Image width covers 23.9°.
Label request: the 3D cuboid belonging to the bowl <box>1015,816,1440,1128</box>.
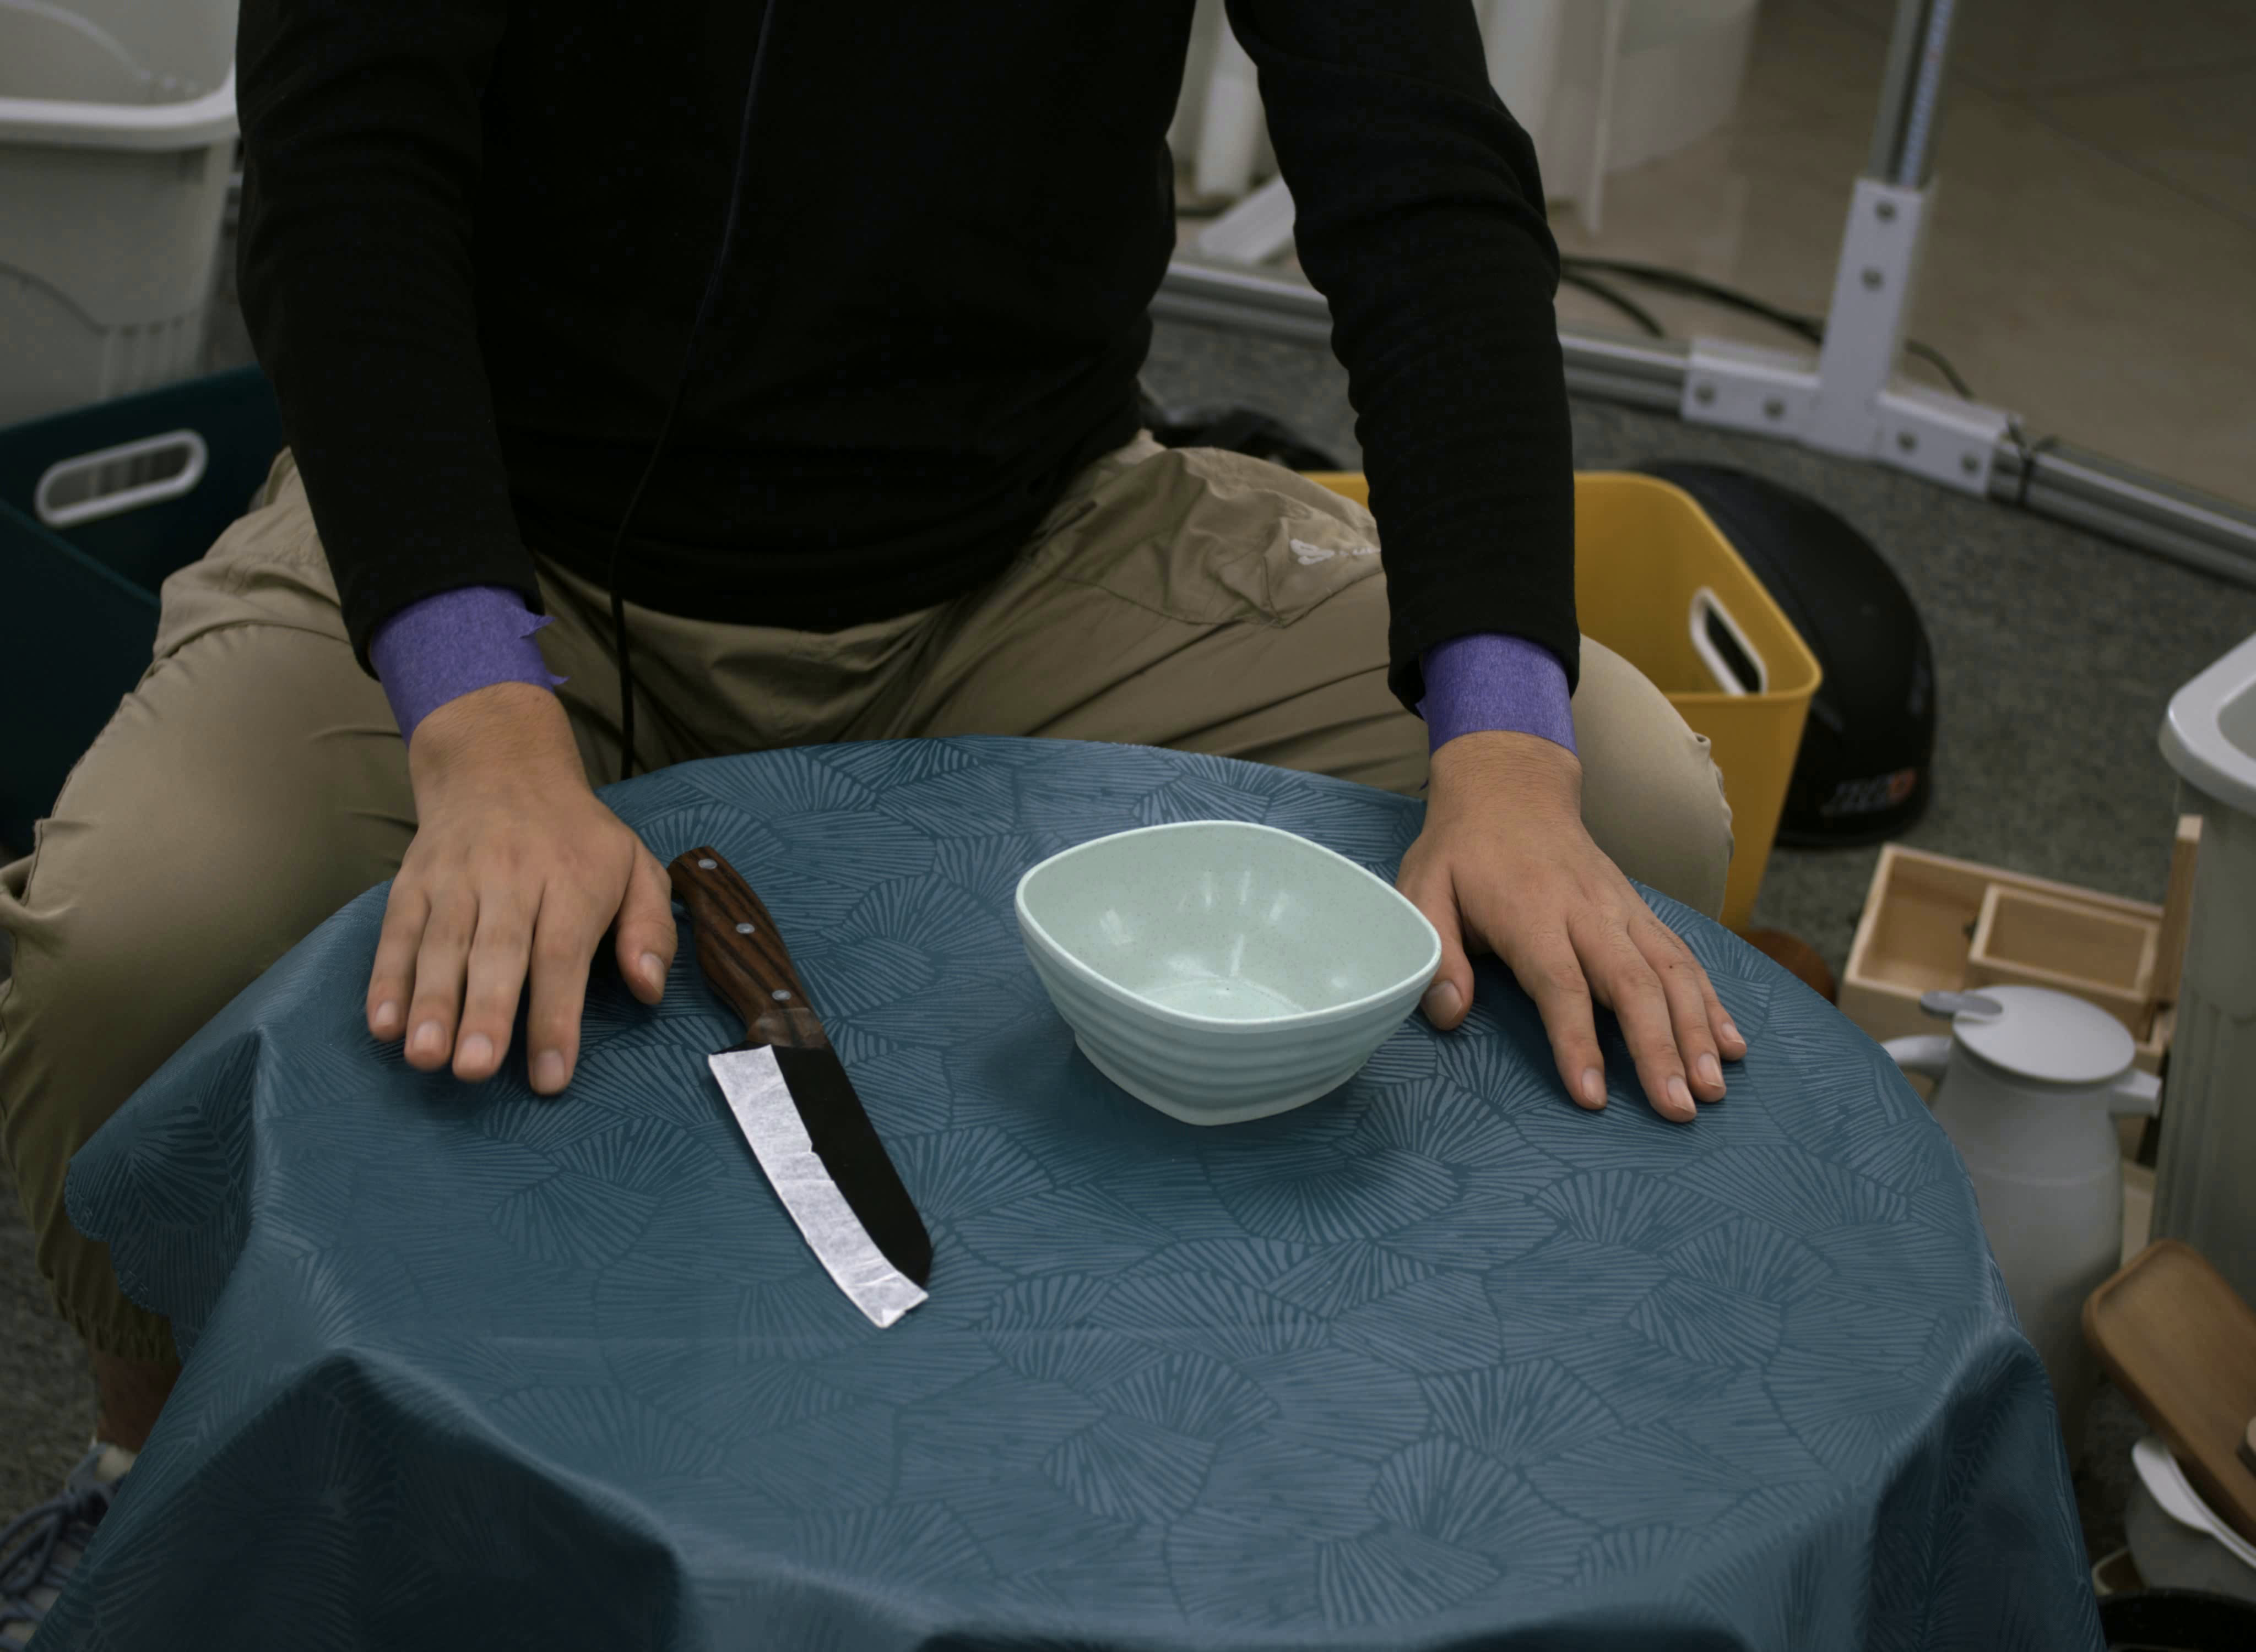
[{"bbox_3d":[0.032,0.057,1.881,0.151,0.058,0.152,6,28,-4],"label":"bowl"}]

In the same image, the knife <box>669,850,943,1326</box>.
[{"bbox_3d":[-0.115,0.088,1.832,0.050,0.020,0.292,-7,32,-15],"label":"knife"}]
